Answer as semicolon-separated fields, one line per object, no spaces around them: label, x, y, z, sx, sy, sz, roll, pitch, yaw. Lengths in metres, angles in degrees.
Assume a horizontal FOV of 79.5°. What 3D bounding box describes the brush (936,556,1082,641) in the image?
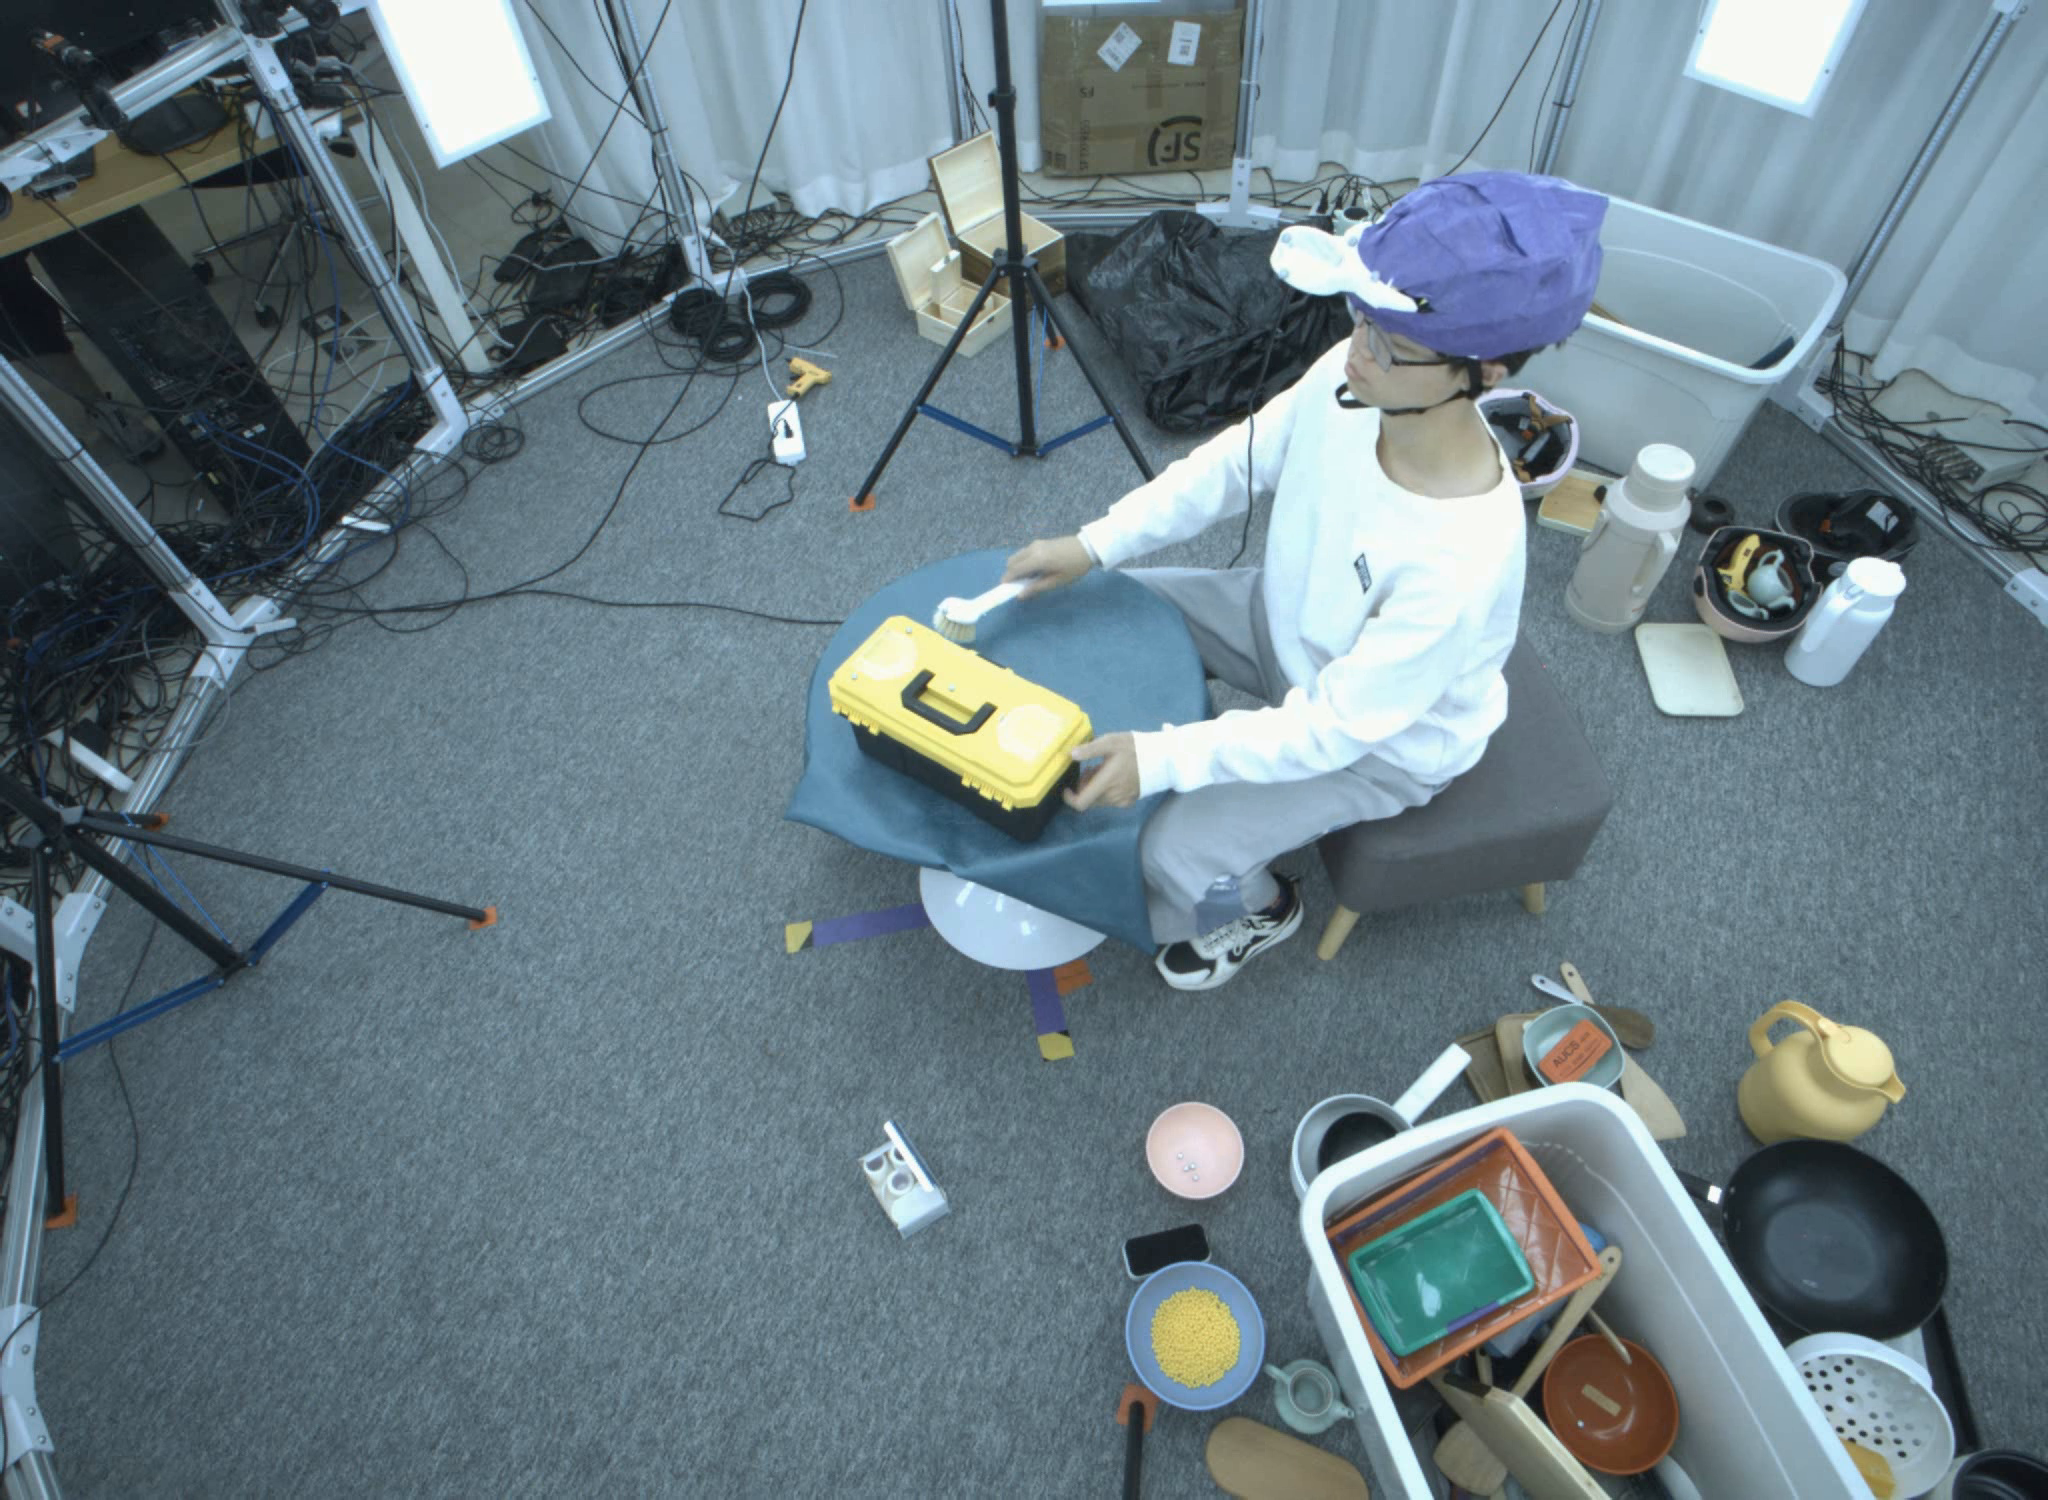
brush;-0.020;-0.238;1.898;0.270;0.056;0.067;-26;69;-32

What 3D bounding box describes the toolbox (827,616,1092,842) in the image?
toolbox;-0.087;-0.030;1.701;0.346;0.174;0.182;29;62;20
